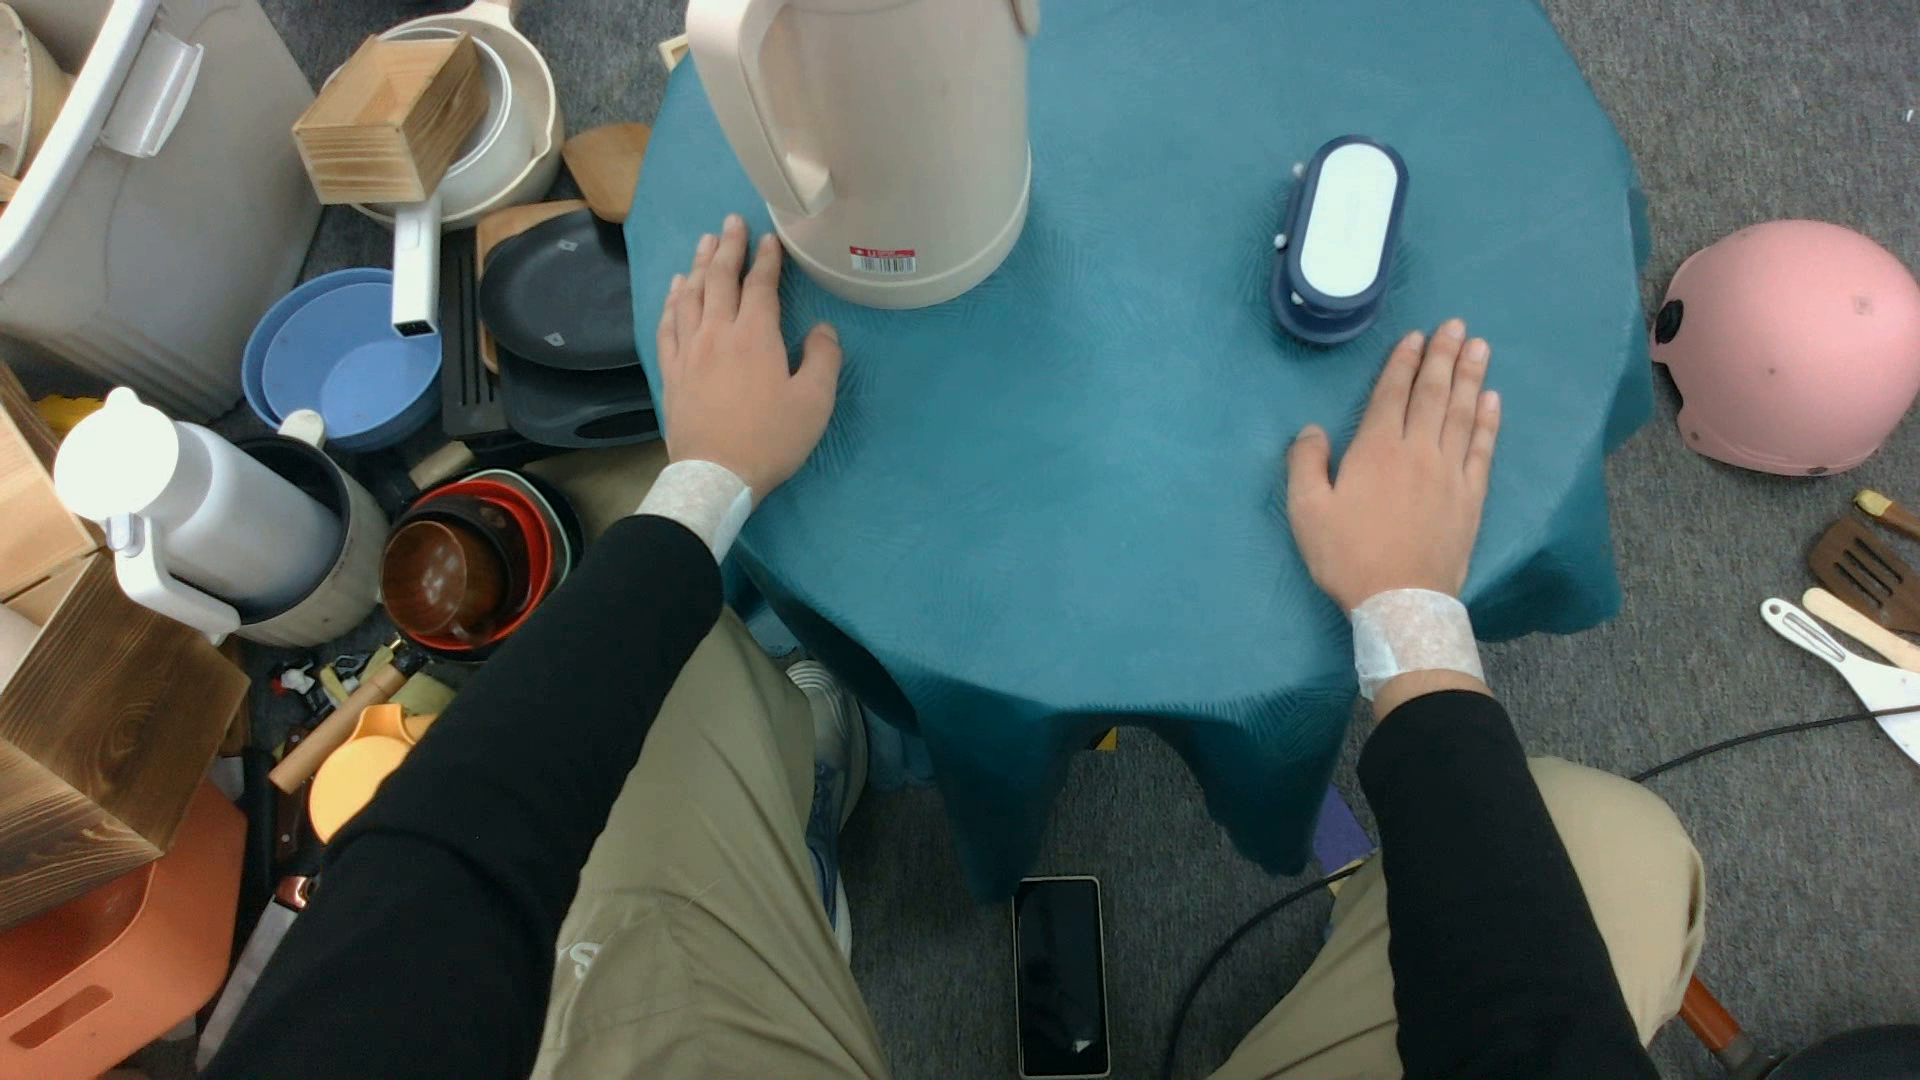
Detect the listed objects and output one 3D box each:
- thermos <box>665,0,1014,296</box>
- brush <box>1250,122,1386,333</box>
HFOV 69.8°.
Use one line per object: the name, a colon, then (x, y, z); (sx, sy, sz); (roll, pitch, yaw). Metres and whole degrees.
thermos: (-0.064, -0.265, 0.647); (0.175, 0.405, 0.207); (23, 74, 7)
brush: (0.206, -0.178, 0.792); (0.068, 0.061, 0.122); (16, 72, 7)
